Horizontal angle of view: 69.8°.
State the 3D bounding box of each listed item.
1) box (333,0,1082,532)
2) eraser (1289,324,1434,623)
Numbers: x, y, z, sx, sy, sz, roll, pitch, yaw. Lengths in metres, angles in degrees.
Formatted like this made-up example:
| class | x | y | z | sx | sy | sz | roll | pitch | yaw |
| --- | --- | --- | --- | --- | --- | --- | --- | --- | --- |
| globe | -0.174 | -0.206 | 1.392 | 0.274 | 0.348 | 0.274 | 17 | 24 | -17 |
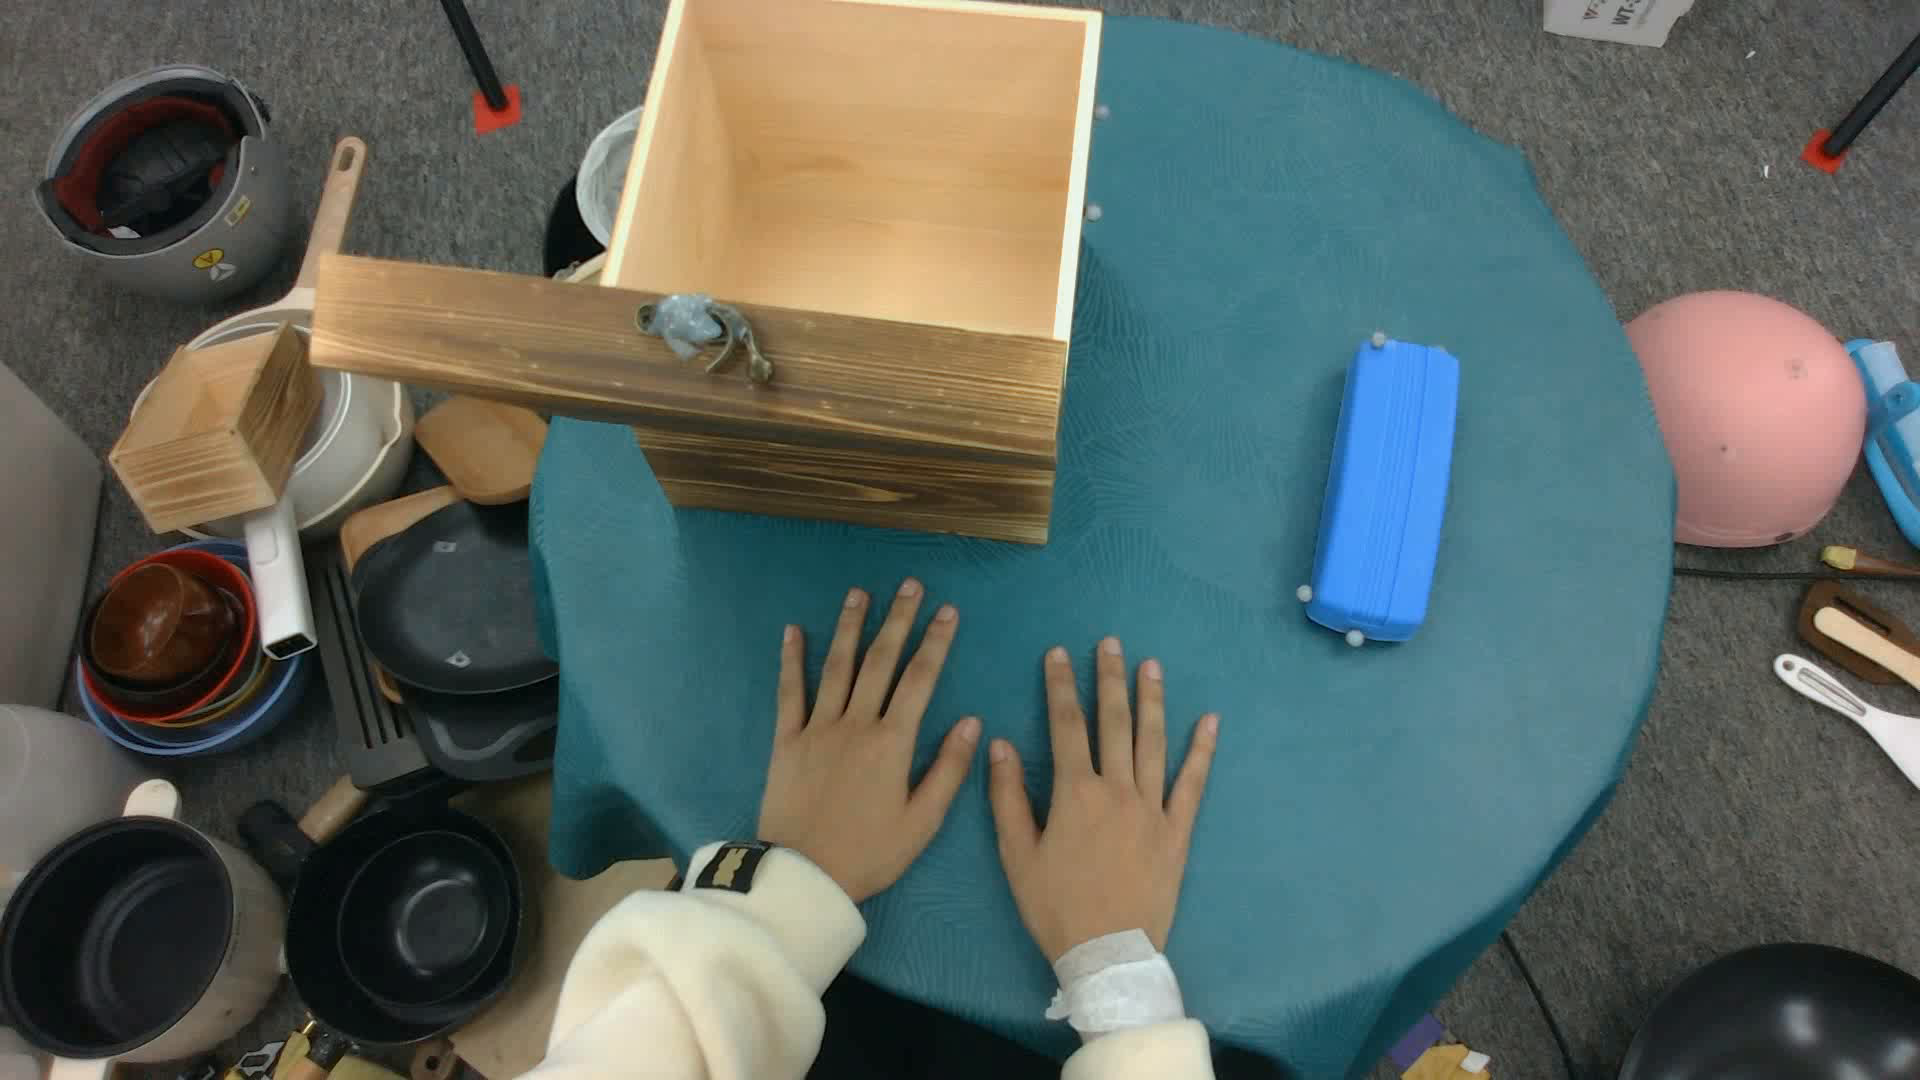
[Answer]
| class | x | y | z | sx | sy | sz | roll | pitch | yaw |
| --- | --- | --- | --- | --- | --- | --- | --- | --- | --- |
| box | -0.057 | -0.125 | 0.577 | 0.209 | 0.374 | 0.323 | 6 | 69 | 2 |
| eraser | 0.208 | -0.039 | 0.707 | 0.054 | 0.047 | 0.163 | 13 | 67 | 5 |
